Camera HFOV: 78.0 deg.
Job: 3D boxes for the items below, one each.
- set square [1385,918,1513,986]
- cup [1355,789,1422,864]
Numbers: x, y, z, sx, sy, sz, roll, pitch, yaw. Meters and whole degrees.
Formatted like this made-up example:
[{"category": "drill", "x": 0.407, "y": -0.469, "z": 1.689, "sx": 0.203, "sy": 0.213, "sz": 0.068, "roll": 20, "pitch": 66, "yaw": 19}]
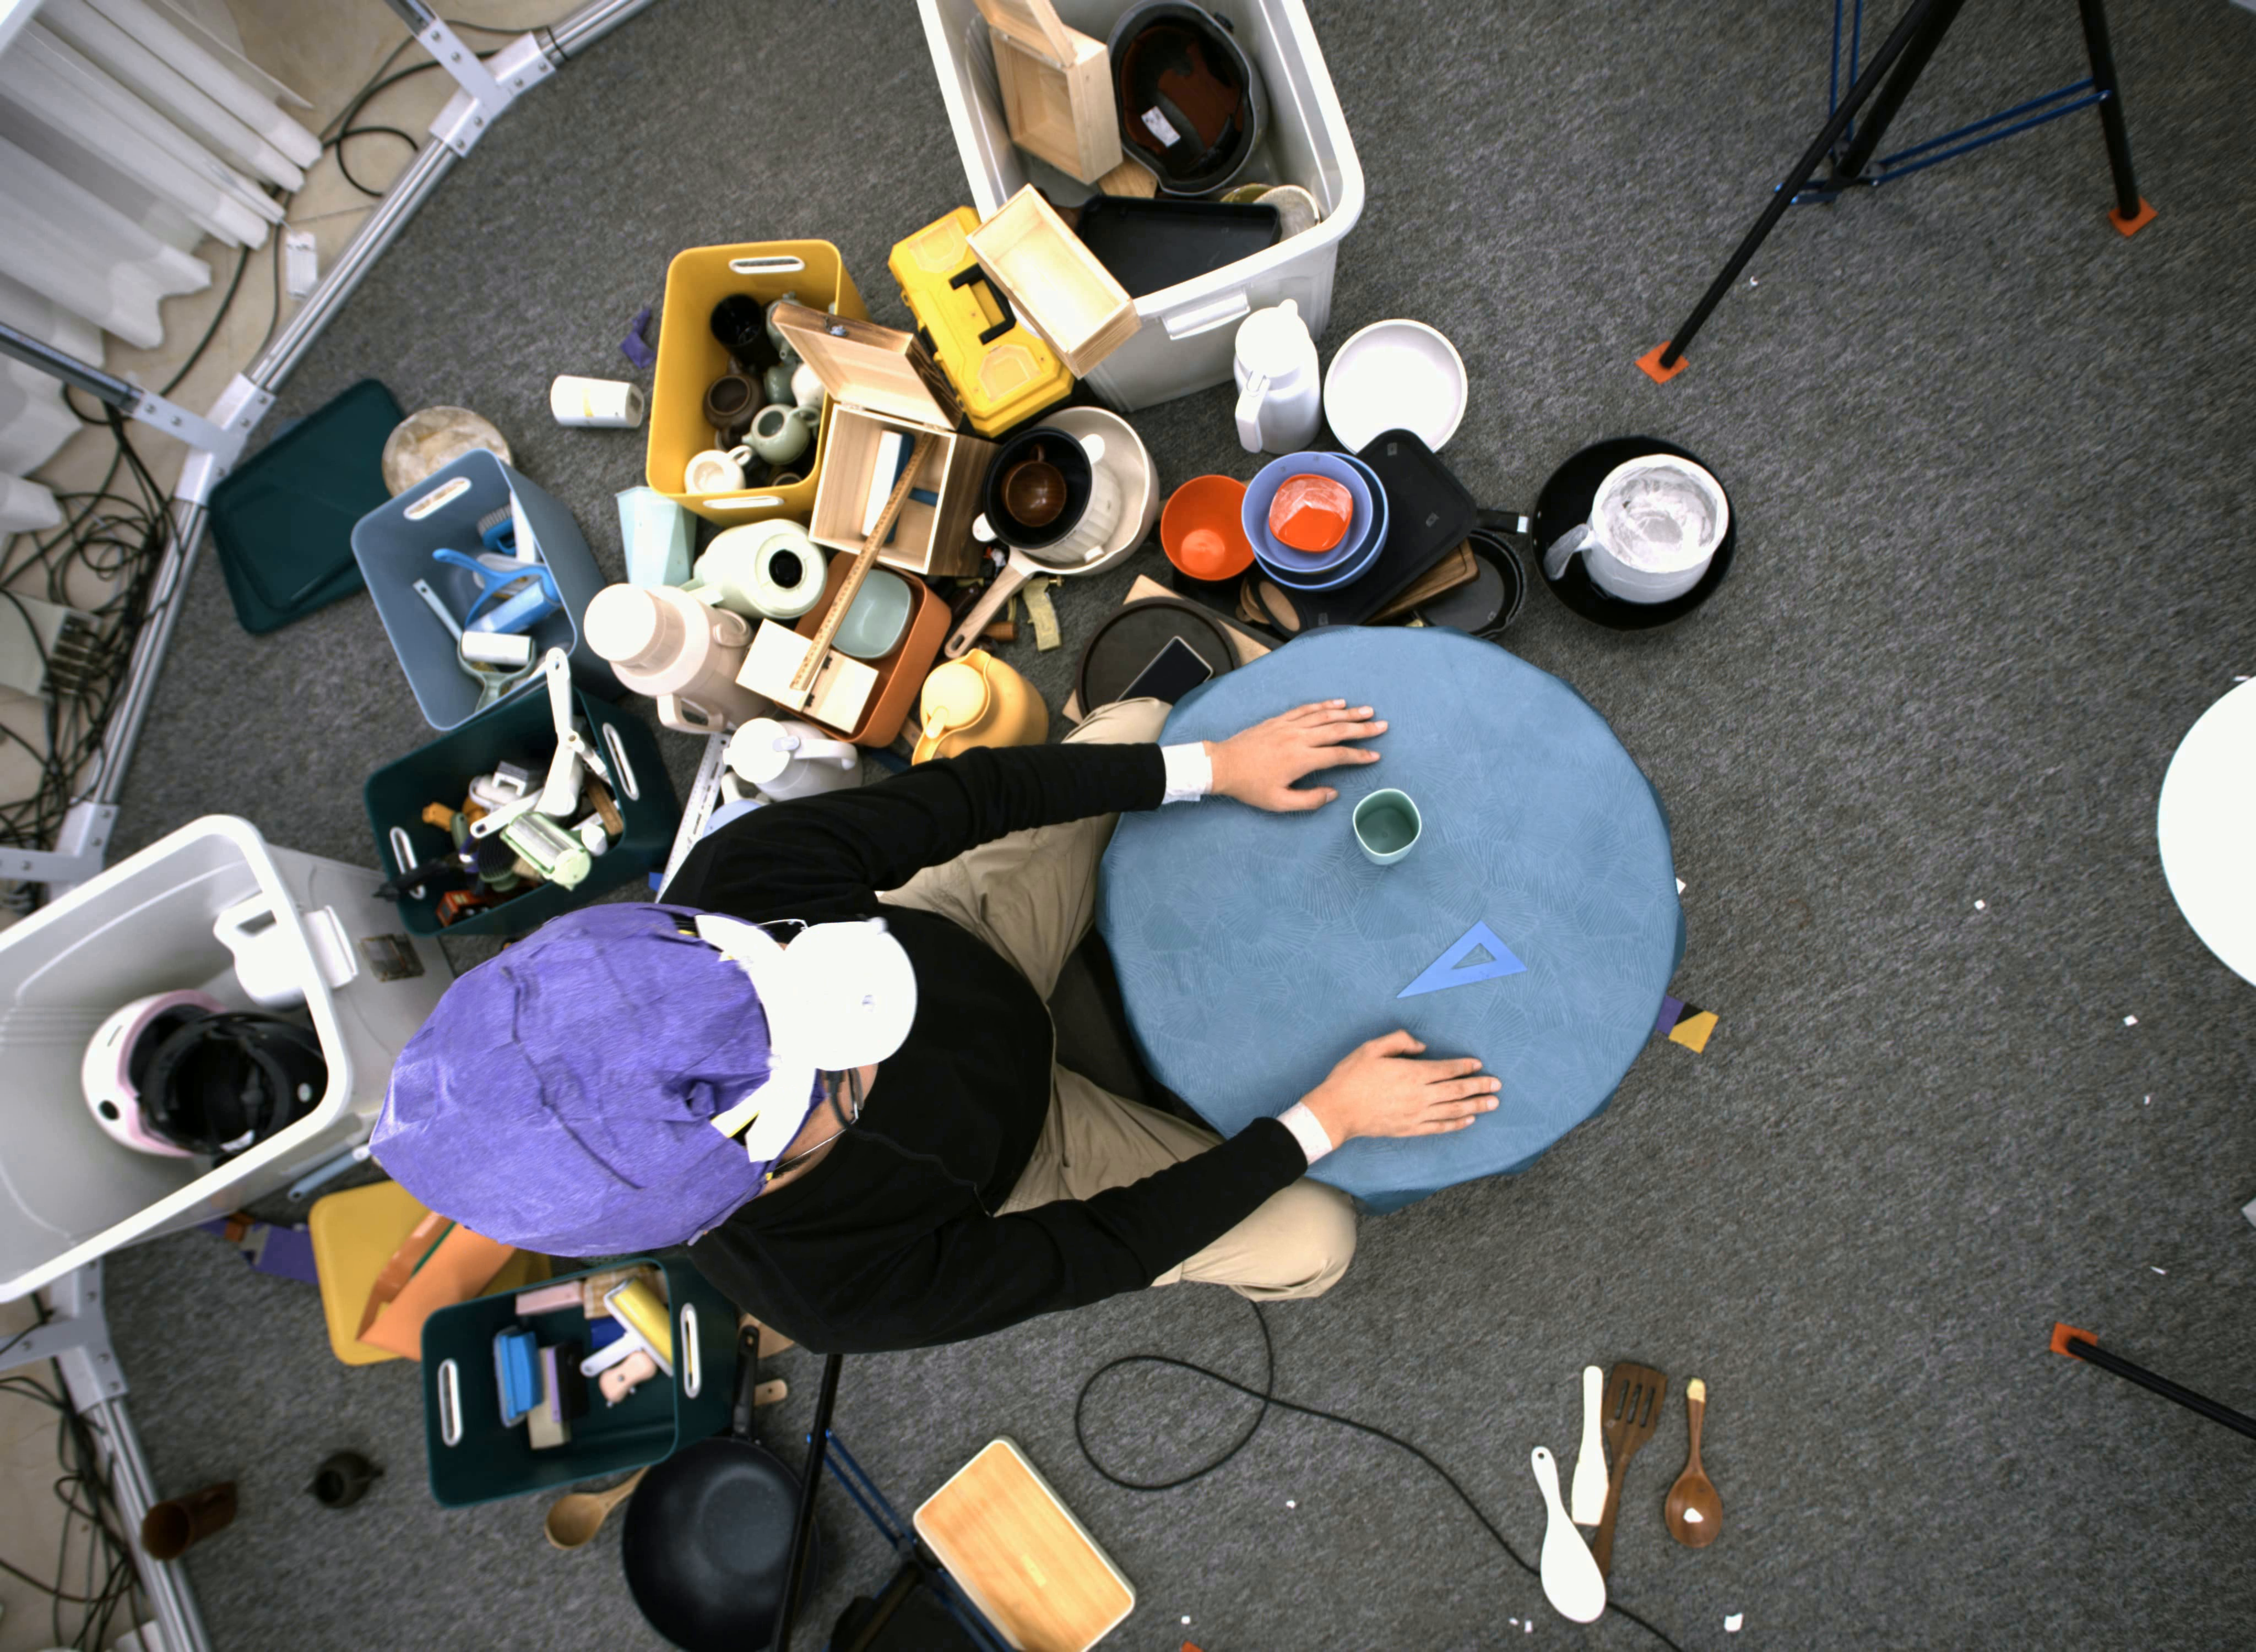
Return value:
[{"category": "set square", "x": 0.332, "y": 0.130, "z": 1.443, "sx": 0.132, "sy": 0.006, "sz": 0.061, "roll": -9, "pitch": 88, "yaw": 10}, {"category": "cup", "x": 0.262, "y": 0.002, "z": 1.403, "sx": 0.067, "sy": 0.132, "sz": 0.066, "roll": -1, "pitch": 84, "yaw": 9}]
